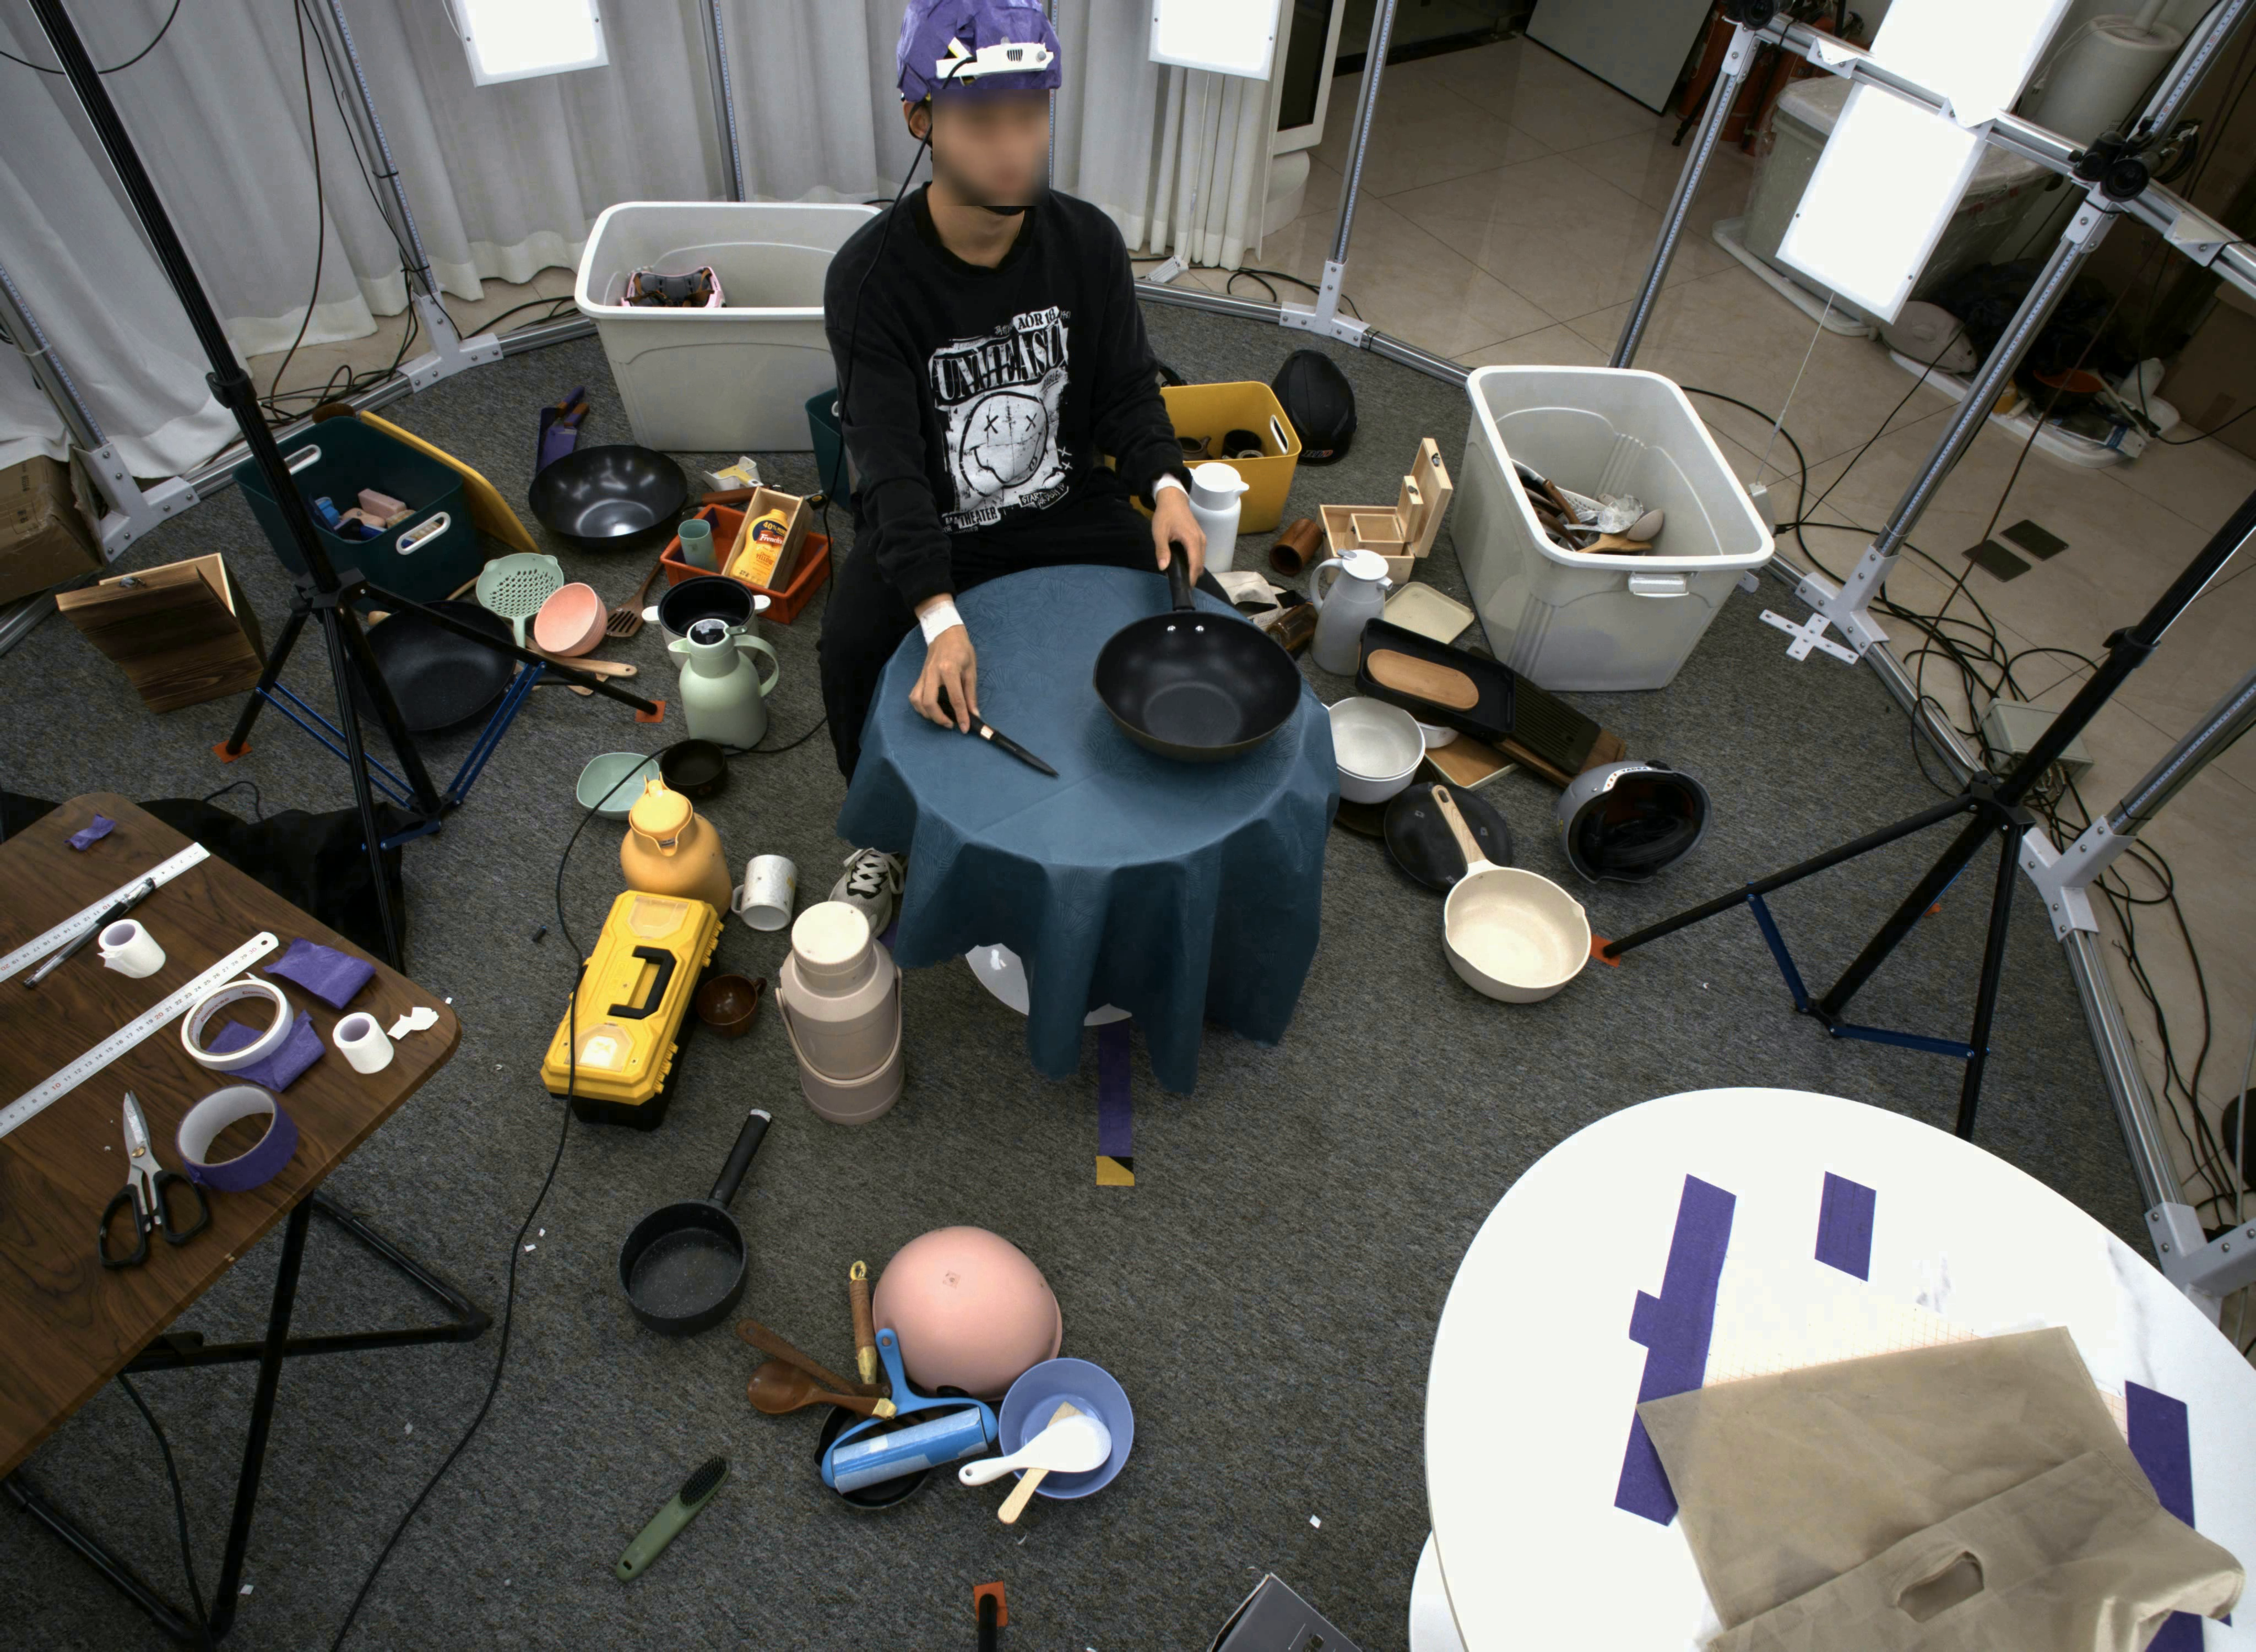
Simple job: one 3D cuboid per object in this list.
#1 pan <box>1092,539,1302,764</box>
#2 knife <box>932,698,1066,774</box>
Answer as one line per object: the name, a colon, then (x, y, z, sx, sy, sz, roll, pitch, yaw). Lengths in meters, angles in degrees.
pan: (0.085, -0.245, 1.836, 0.288, 0.085, 0.475, -2, 46, -5)
knife: (-0.179, -0.122, 1.757, 0.228, 0.017, 0.026, 30, 31, 22)
